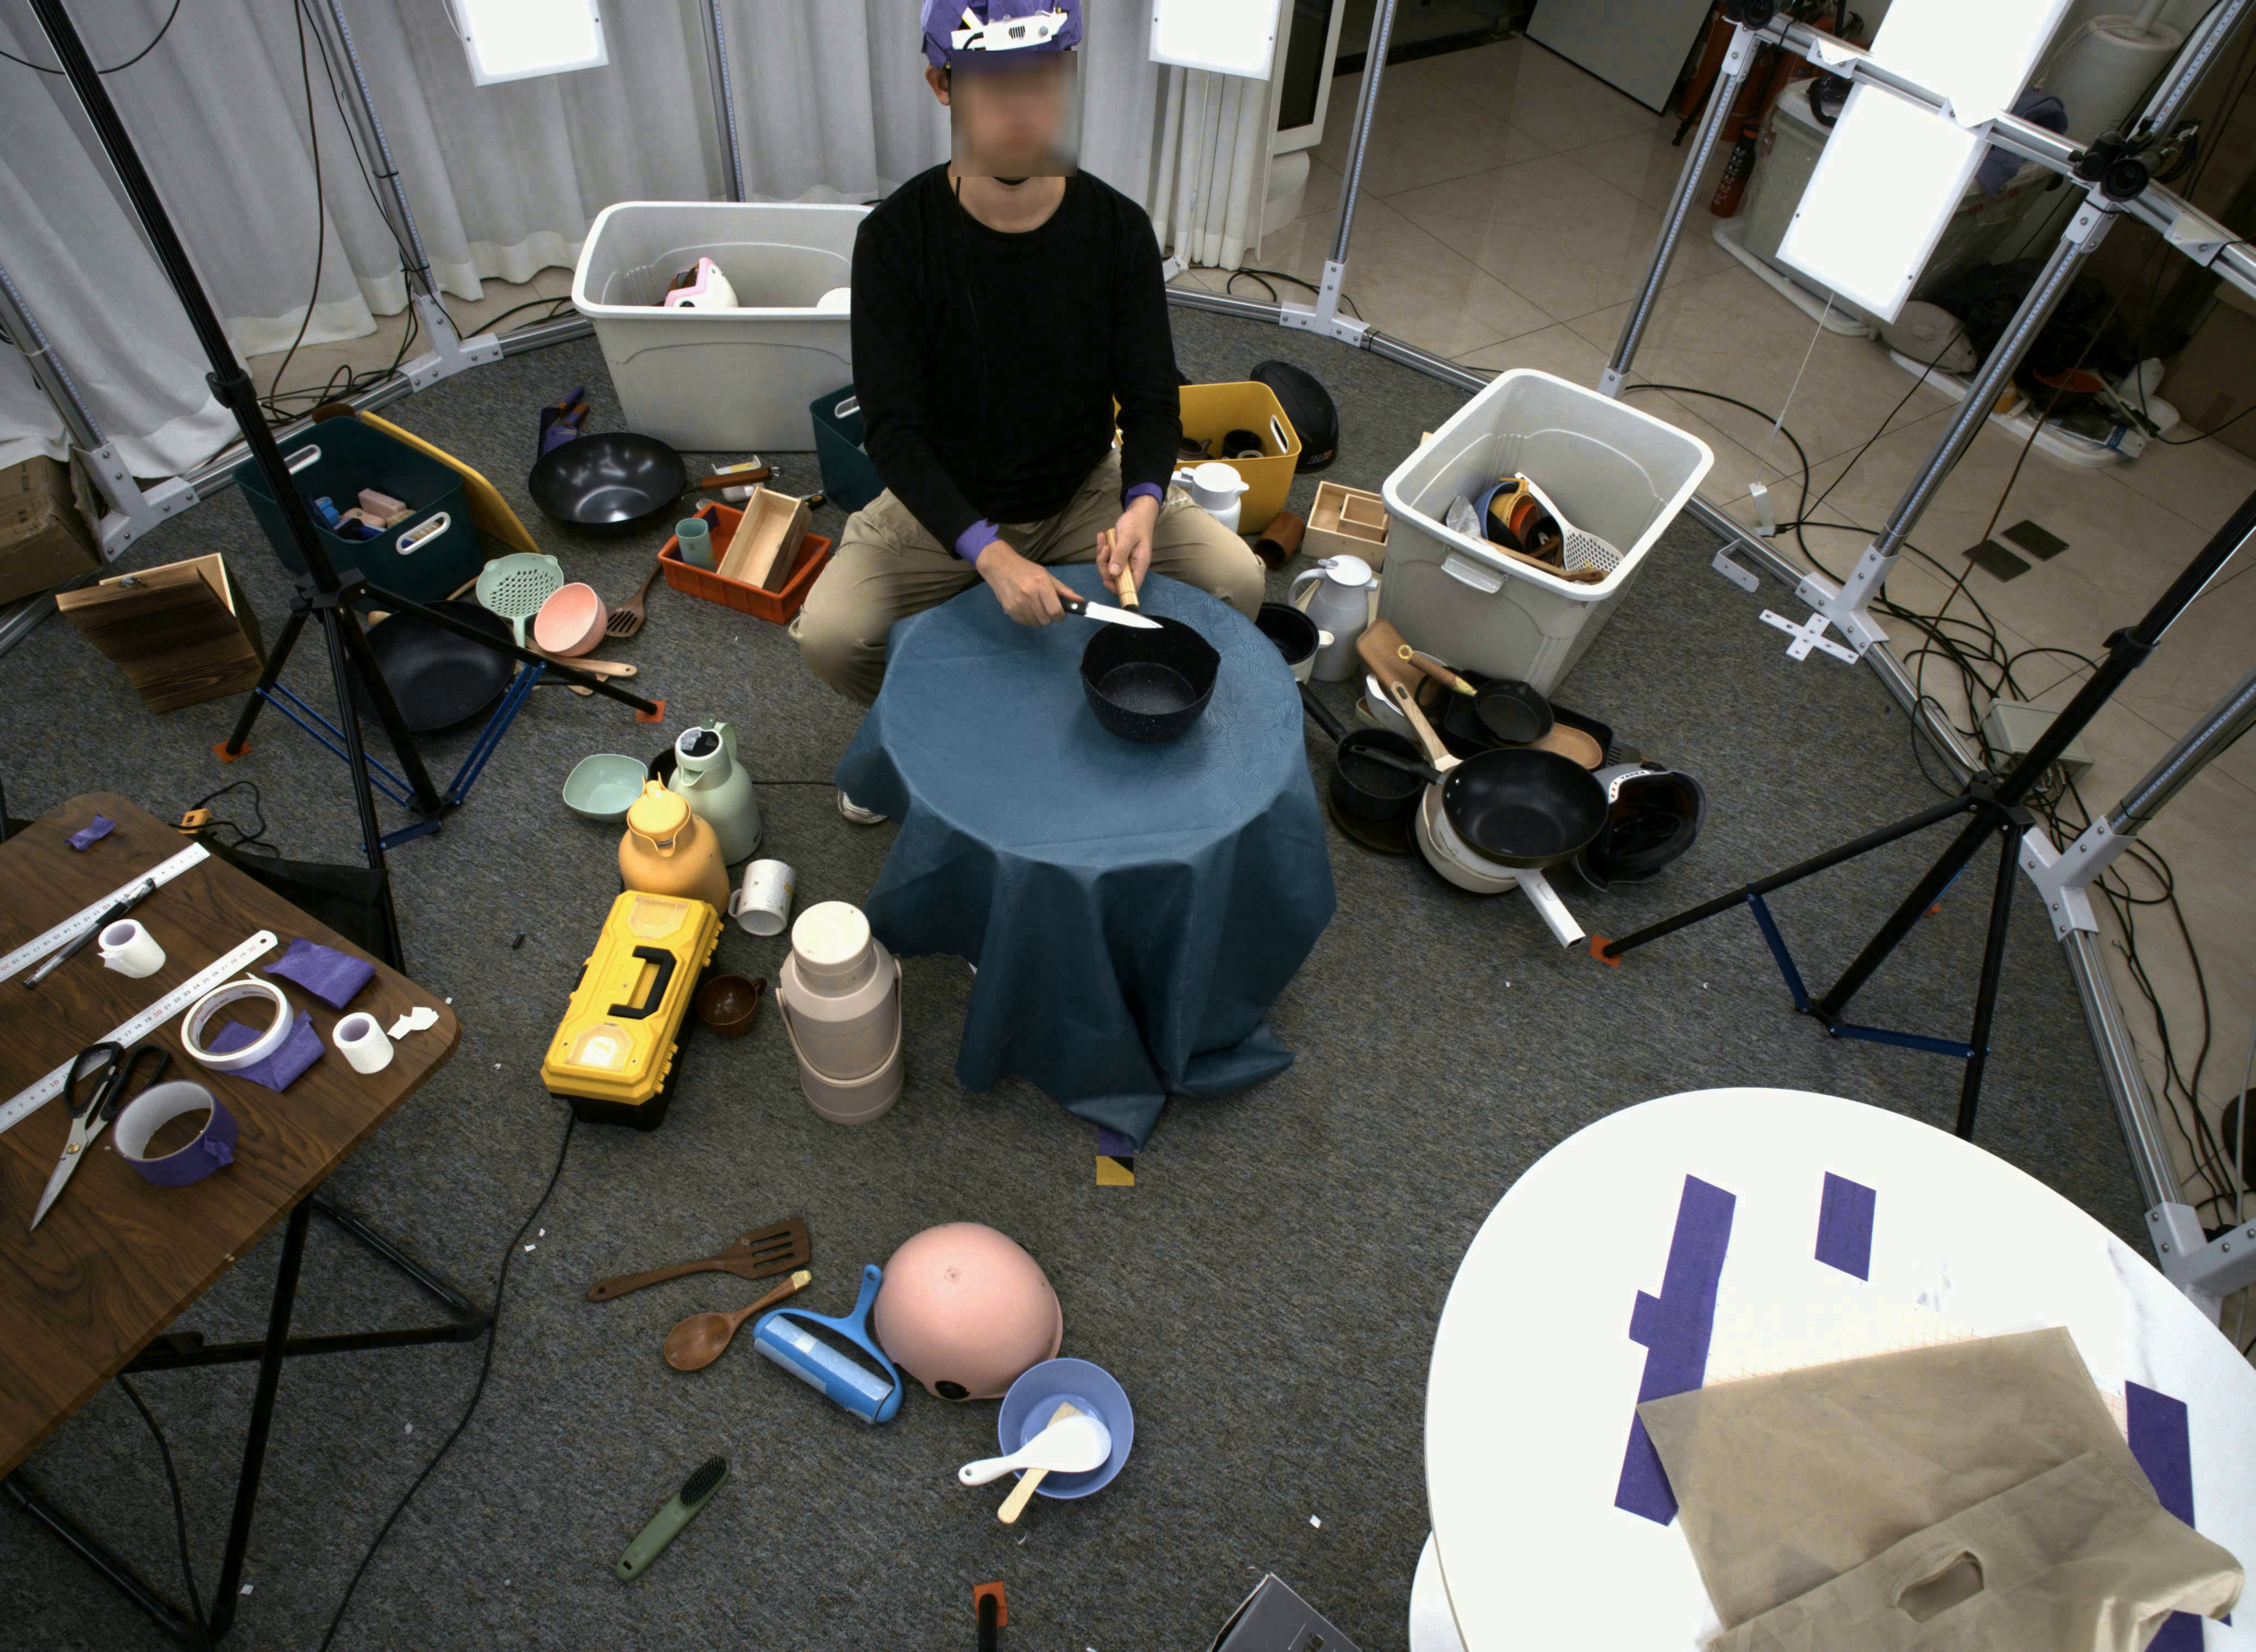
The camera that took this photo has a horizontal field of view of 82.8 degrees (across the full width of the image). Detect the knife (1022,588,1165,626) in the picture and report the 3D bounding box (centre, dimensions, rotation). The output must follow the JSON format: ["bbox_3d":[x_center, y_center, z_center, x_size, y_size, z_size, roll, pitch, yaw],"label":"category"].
[{"bbox_3d":[-0.053,-0.305,1.814,0.240,0.016,0.025,17,75,28],"label":"knife"}]

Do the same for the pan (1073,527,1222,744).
[{"bbox_3d":[0.010,-0.269,1.821,0.207,0.106,0.351,-8,56,-10],"label":"pan"}]
